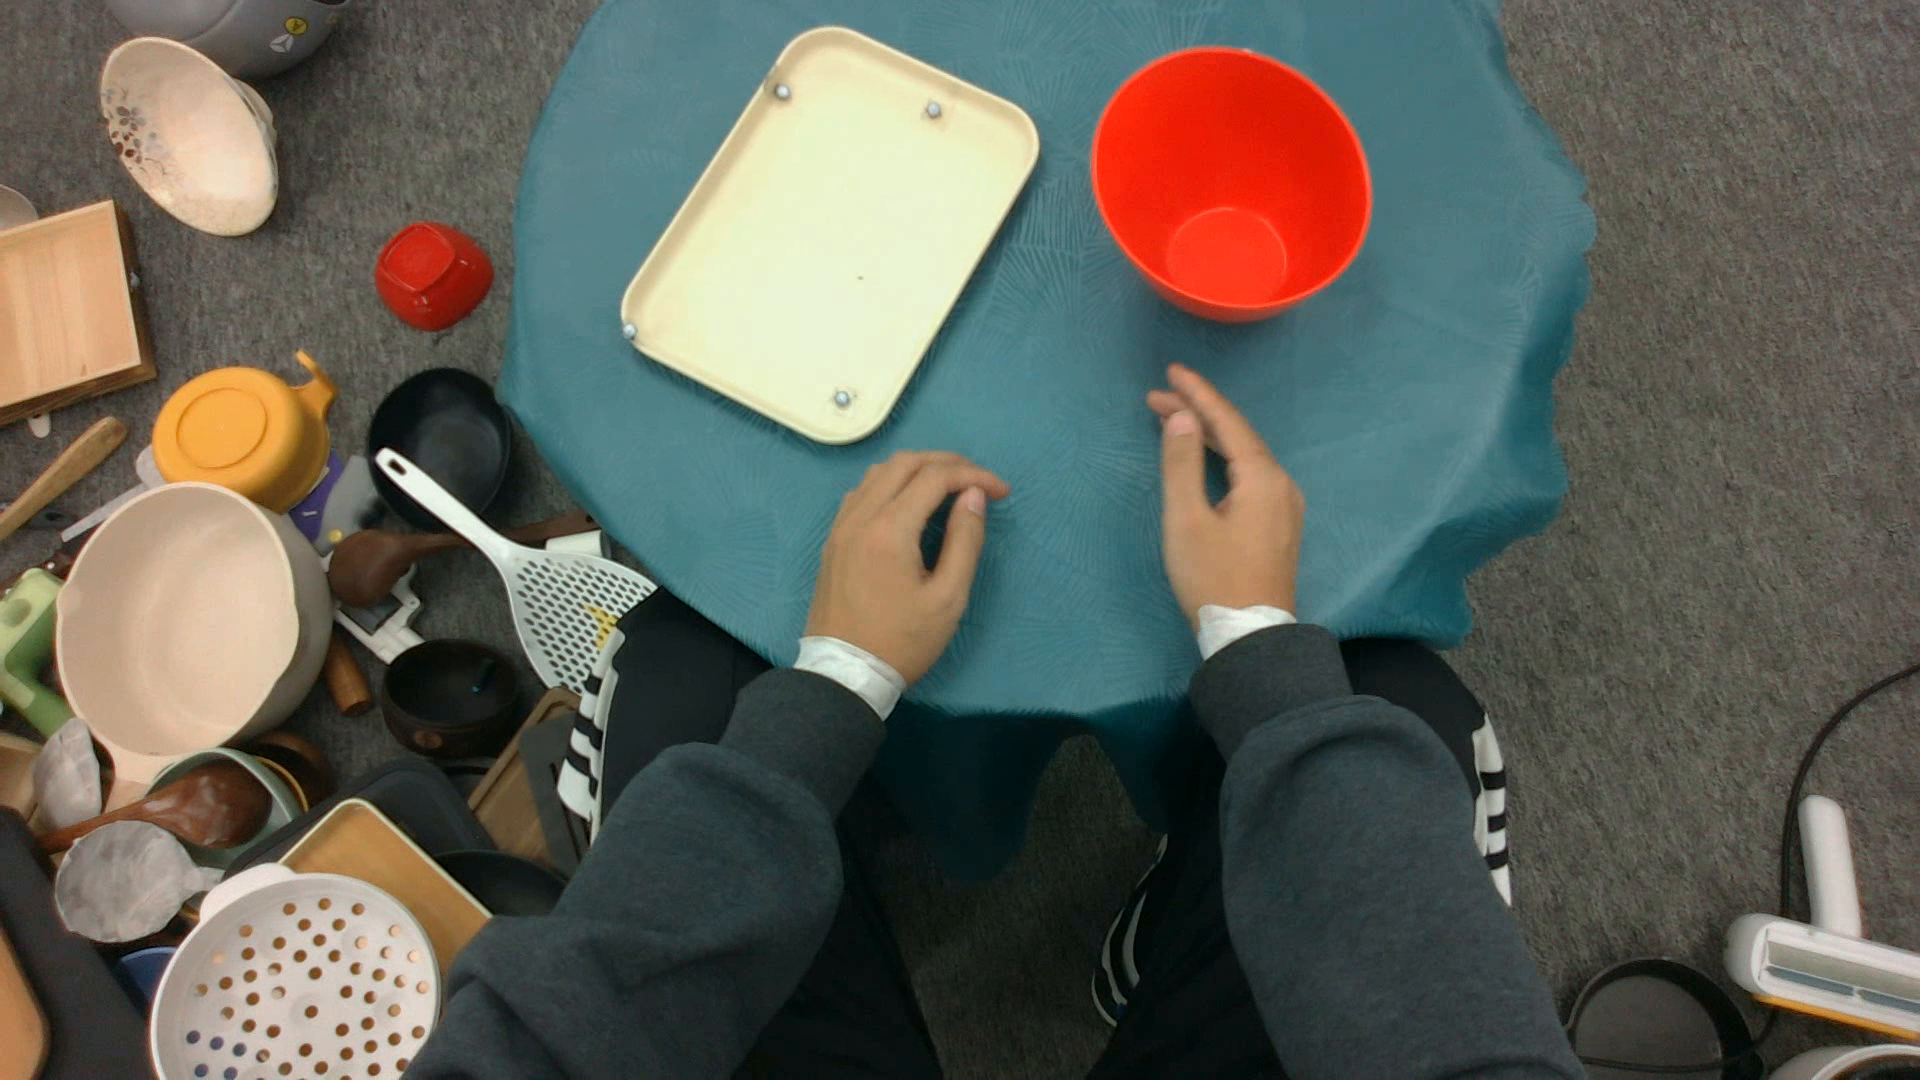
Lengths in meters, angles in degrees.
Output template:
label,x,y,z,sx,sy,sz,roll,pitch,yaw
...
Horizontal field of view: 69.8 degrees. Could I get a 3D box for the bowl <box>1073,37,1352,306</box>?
label,x,y,z,sx,sy,sz,roll,pitch,yaw
bowl,0.133,-0.185,0.753,0.148,0.104,0.148,0,72,1

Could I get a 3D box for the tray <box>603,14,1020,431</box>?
label,x,y,z,sx,sy,sz,roll,pitch,yaw
tray,-0.083,-0.188,0.800,0.171,0.017,0.240,27,76,8
